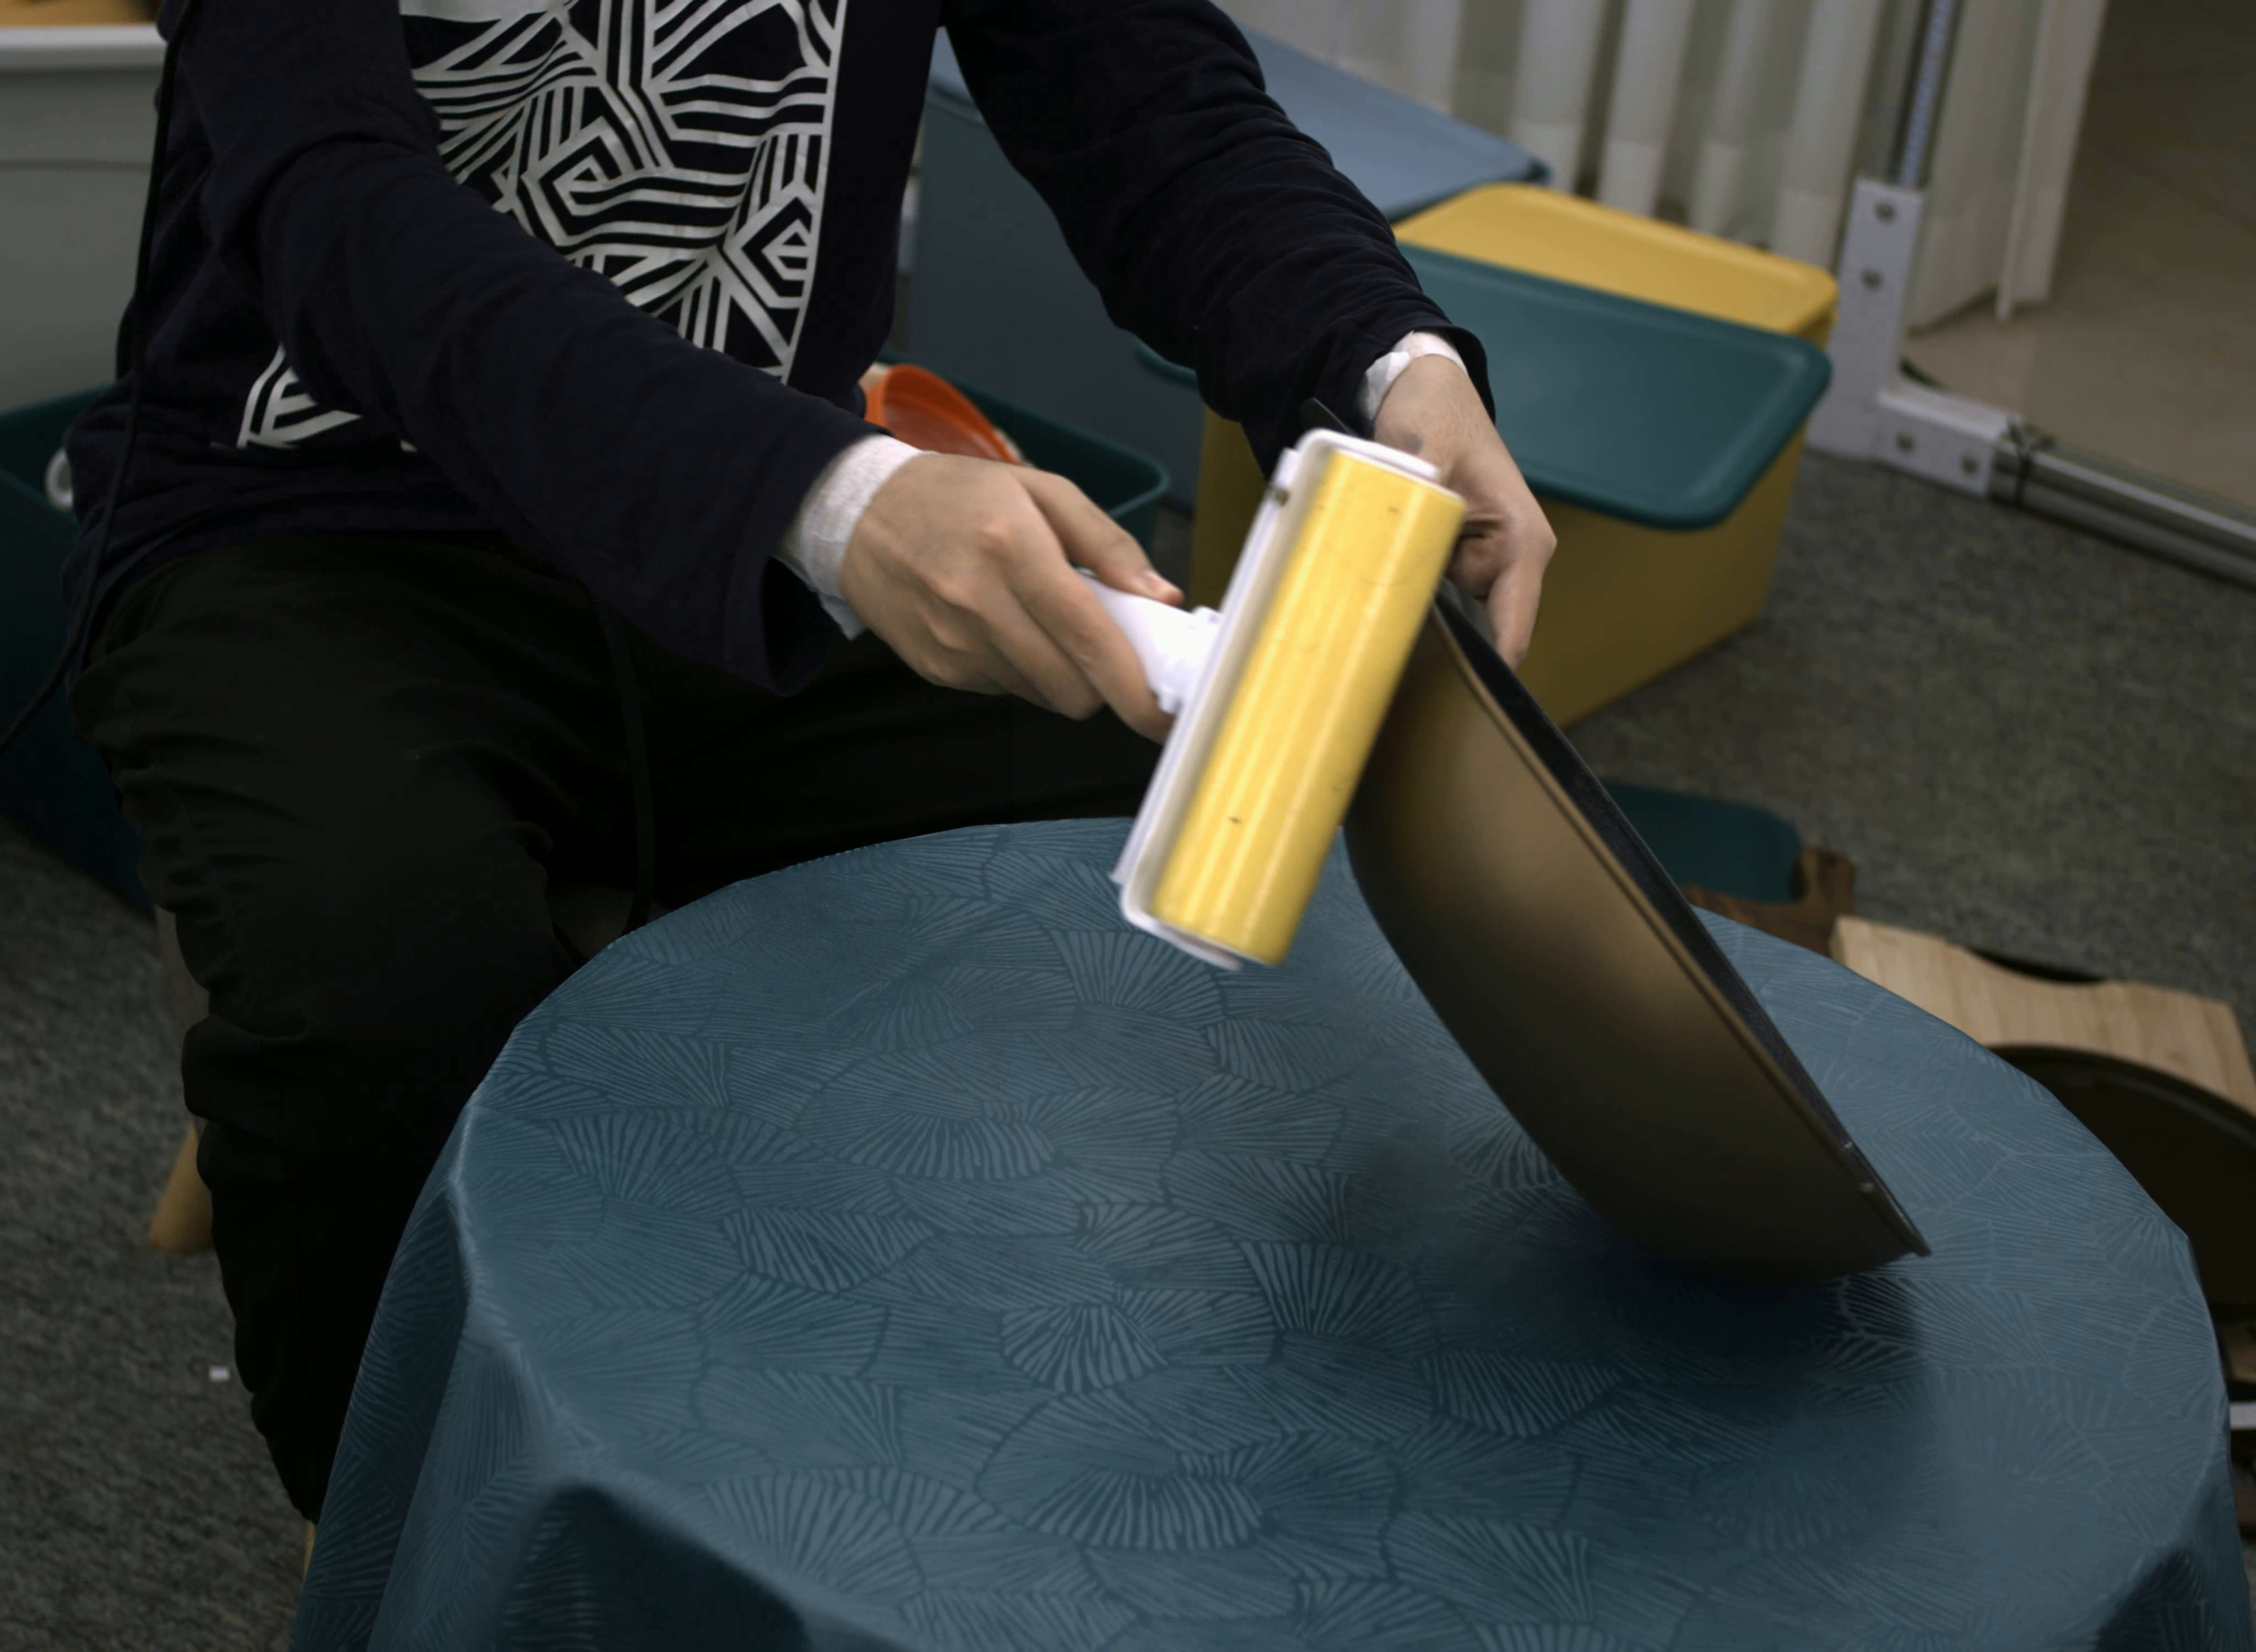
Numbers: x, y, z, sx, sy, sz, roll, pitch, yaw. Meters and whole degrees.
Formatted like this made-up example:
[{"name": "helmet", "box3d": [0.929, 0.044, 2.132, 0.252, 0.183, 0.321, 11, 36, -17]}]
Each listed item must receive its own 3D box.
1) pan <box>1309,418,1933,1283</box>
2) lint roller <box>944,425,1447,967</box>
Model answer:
[{"name": "pan", "box3d": [0.121, -0.002, 1.838, 0.087, 0.285, 0.468, -37, 41, 5]}, {"name": "lint roller", "box3d": [0.000, -0.059, 1.743, 0.193, 0.174, 0.051, 21, 0, 38]}]
